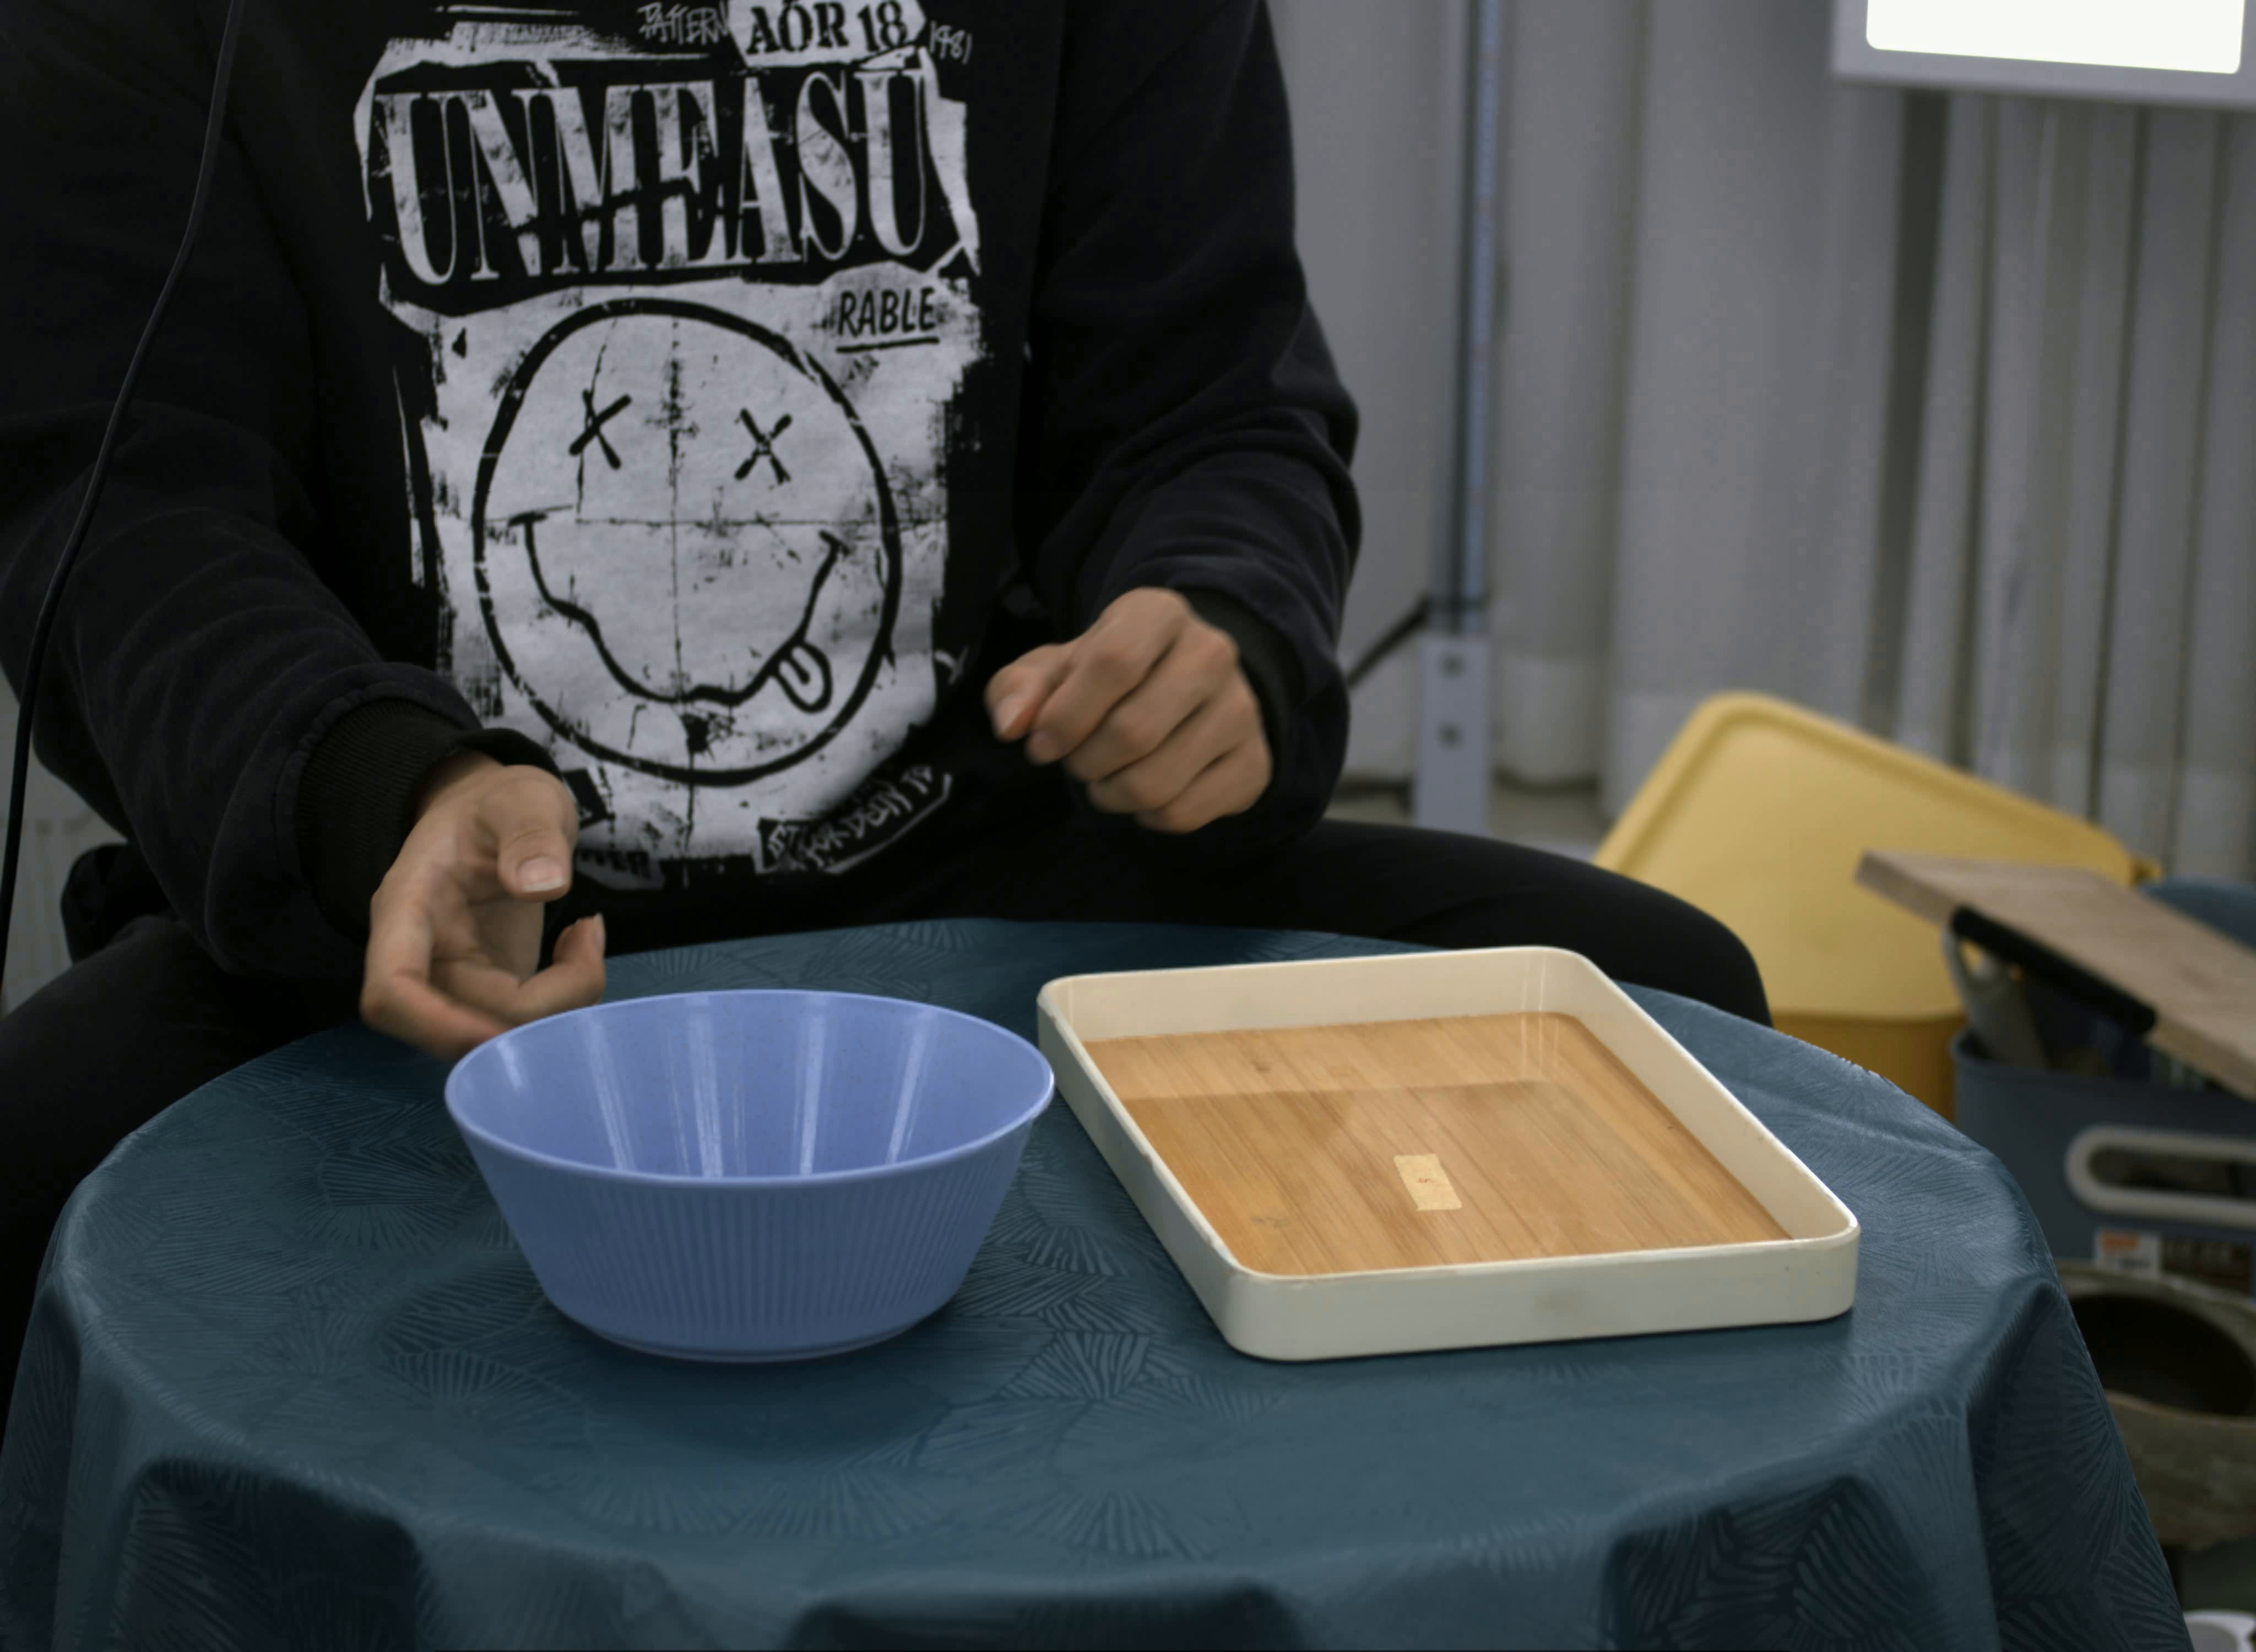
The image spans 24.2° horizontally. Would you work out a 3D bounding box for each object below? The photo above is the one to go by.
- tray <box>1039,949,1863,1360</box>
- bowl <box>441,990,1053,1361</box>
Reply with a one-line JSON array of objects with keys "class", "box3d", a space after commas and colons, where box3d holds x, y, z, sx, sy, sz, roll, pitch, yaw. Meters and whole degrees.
[{"class": "tray", "box3d": [0.092, 0.097, 1.637, 0.192, 0.027, 0.297, -2, 16, -13]}, {"class": "bowl", "box3d": [-0.110, 0.103, 1.523, 0.175, 0.071, 0.175, 2, 16, 0]}]
